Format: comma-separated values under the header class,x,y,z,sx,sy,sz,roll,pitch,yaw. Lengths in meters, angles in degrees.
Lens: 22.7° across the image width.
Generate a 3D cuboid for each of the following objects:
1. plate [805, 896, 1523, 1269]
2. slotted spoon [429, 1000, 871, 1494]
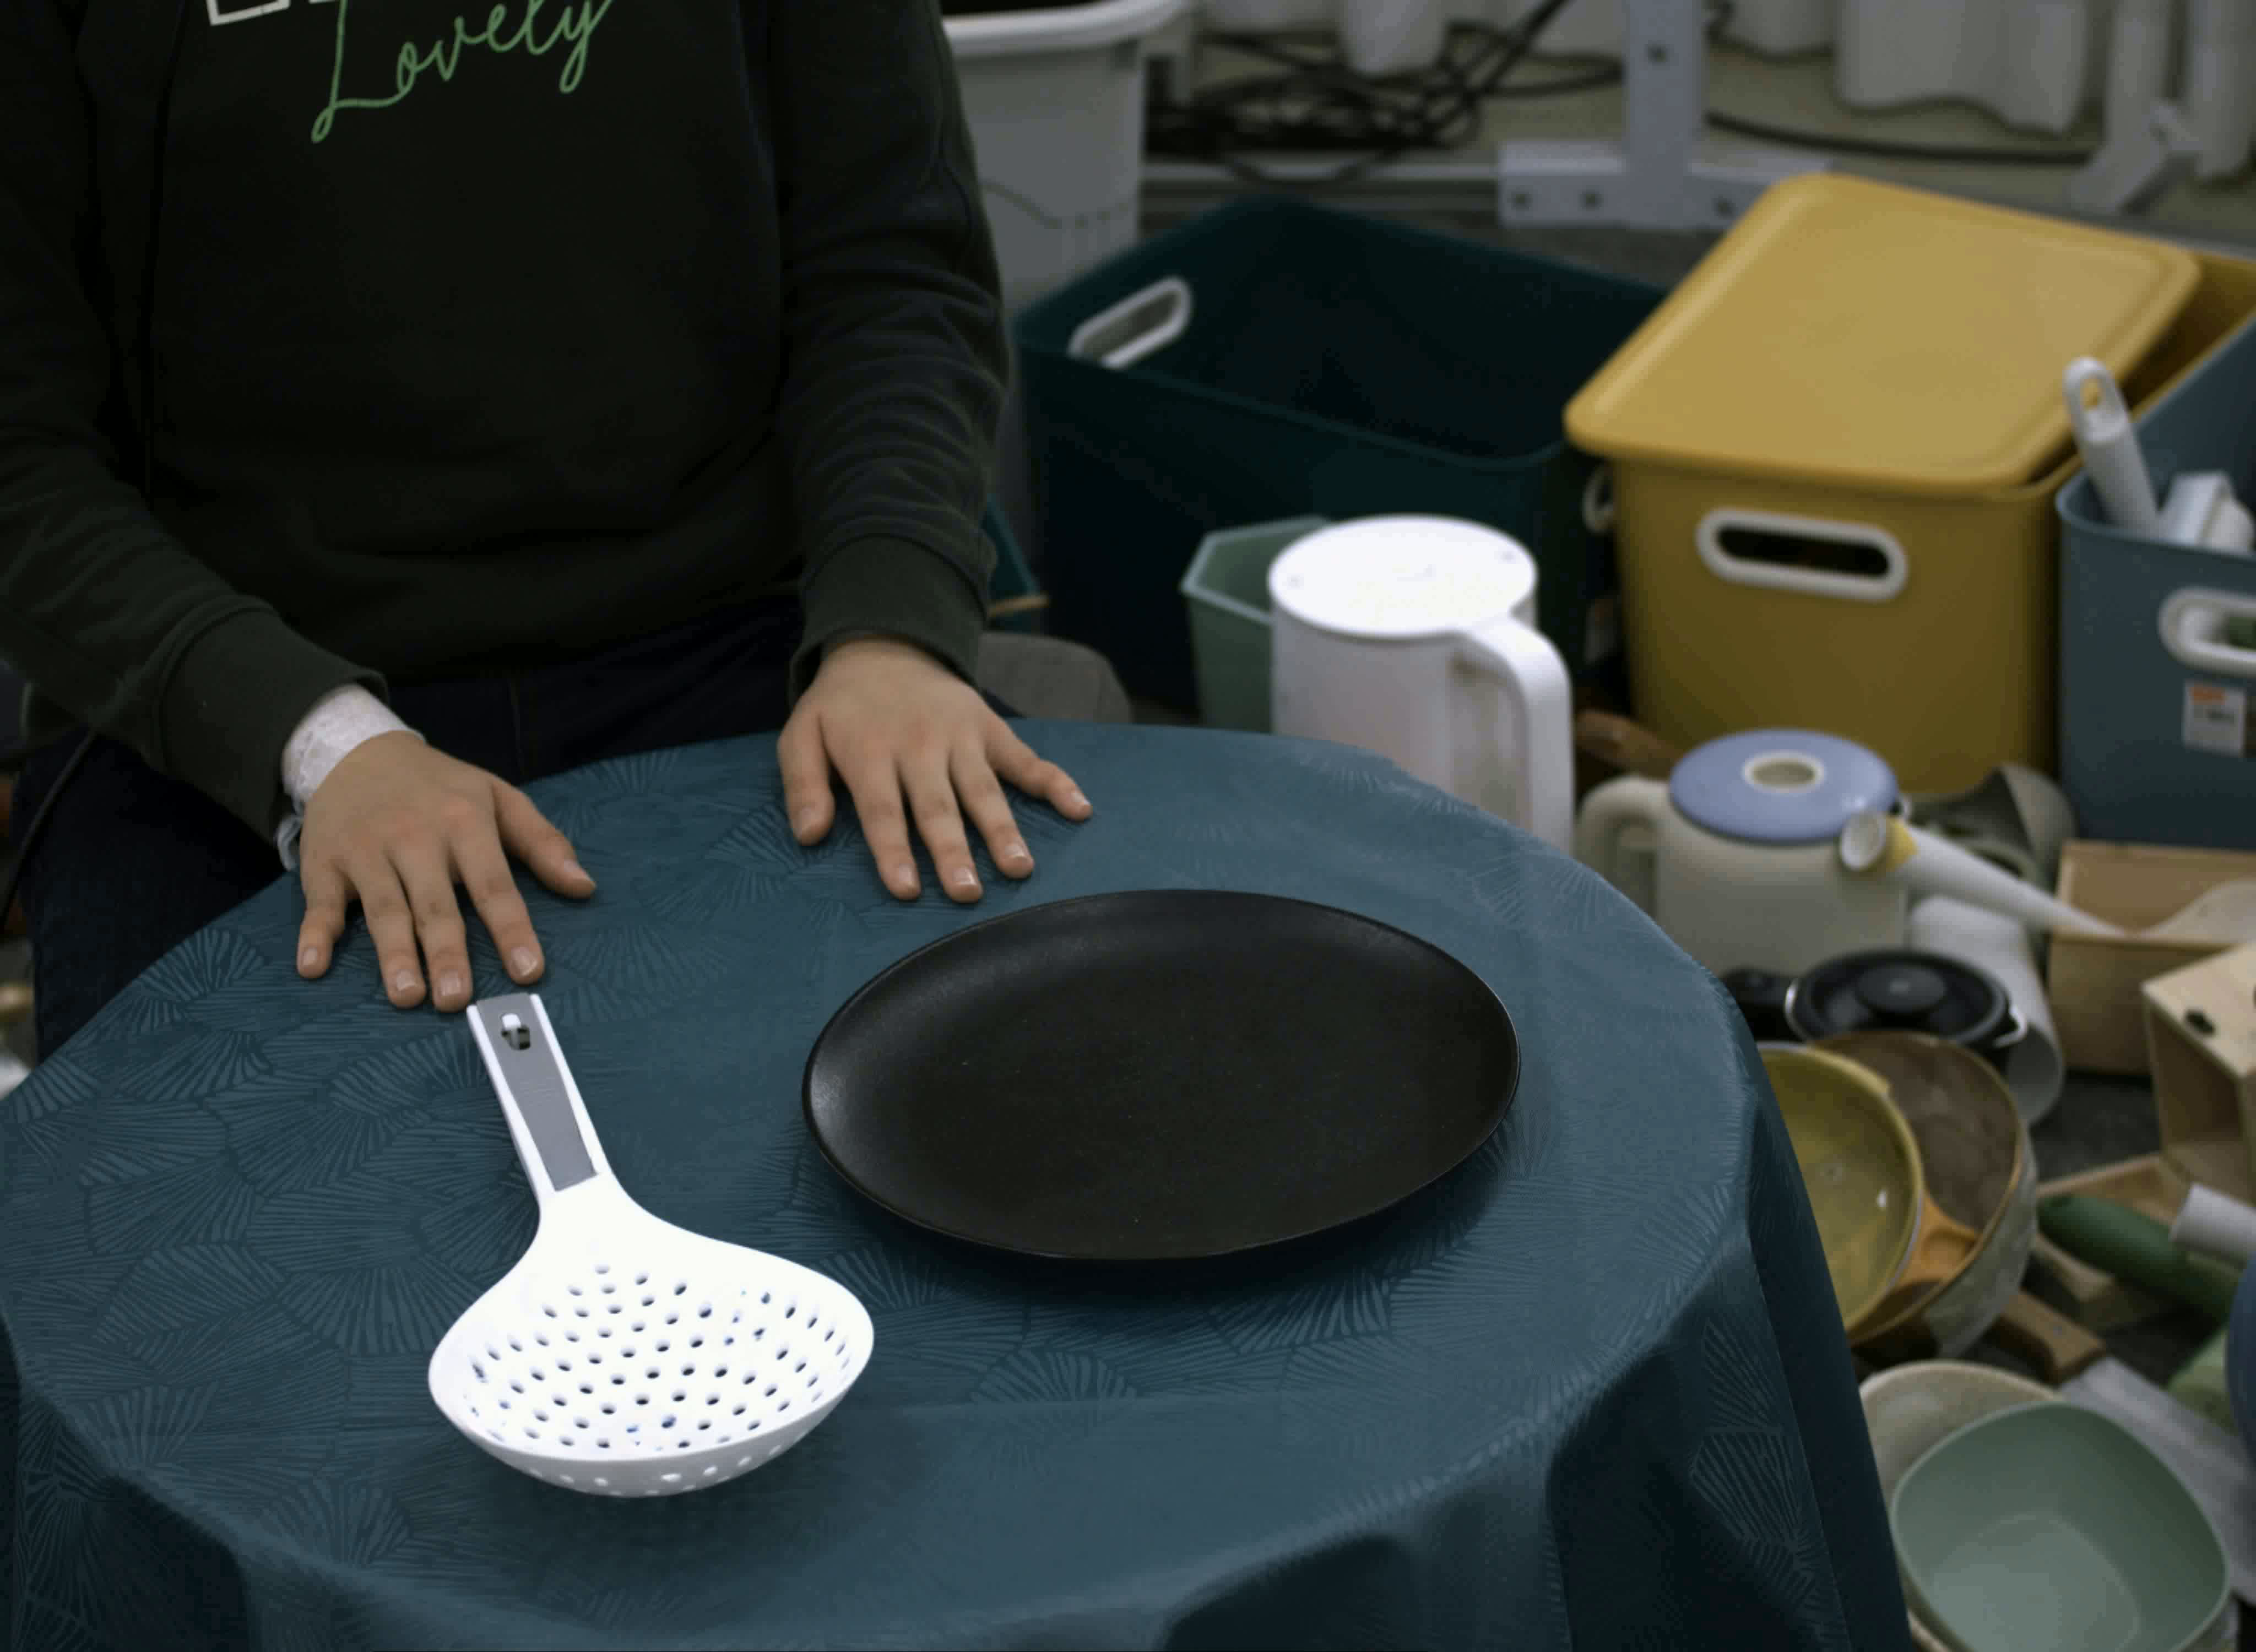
class,x,y,z,sx,sy,sz,roll,pitch,yaw
plate,0.012,0.090,1.896,0.243,0.023,0.248,-2,27,2
slotted spoon,-0.174,0.129,1.814,0.136,0.045,0.353,-8,27,-13
